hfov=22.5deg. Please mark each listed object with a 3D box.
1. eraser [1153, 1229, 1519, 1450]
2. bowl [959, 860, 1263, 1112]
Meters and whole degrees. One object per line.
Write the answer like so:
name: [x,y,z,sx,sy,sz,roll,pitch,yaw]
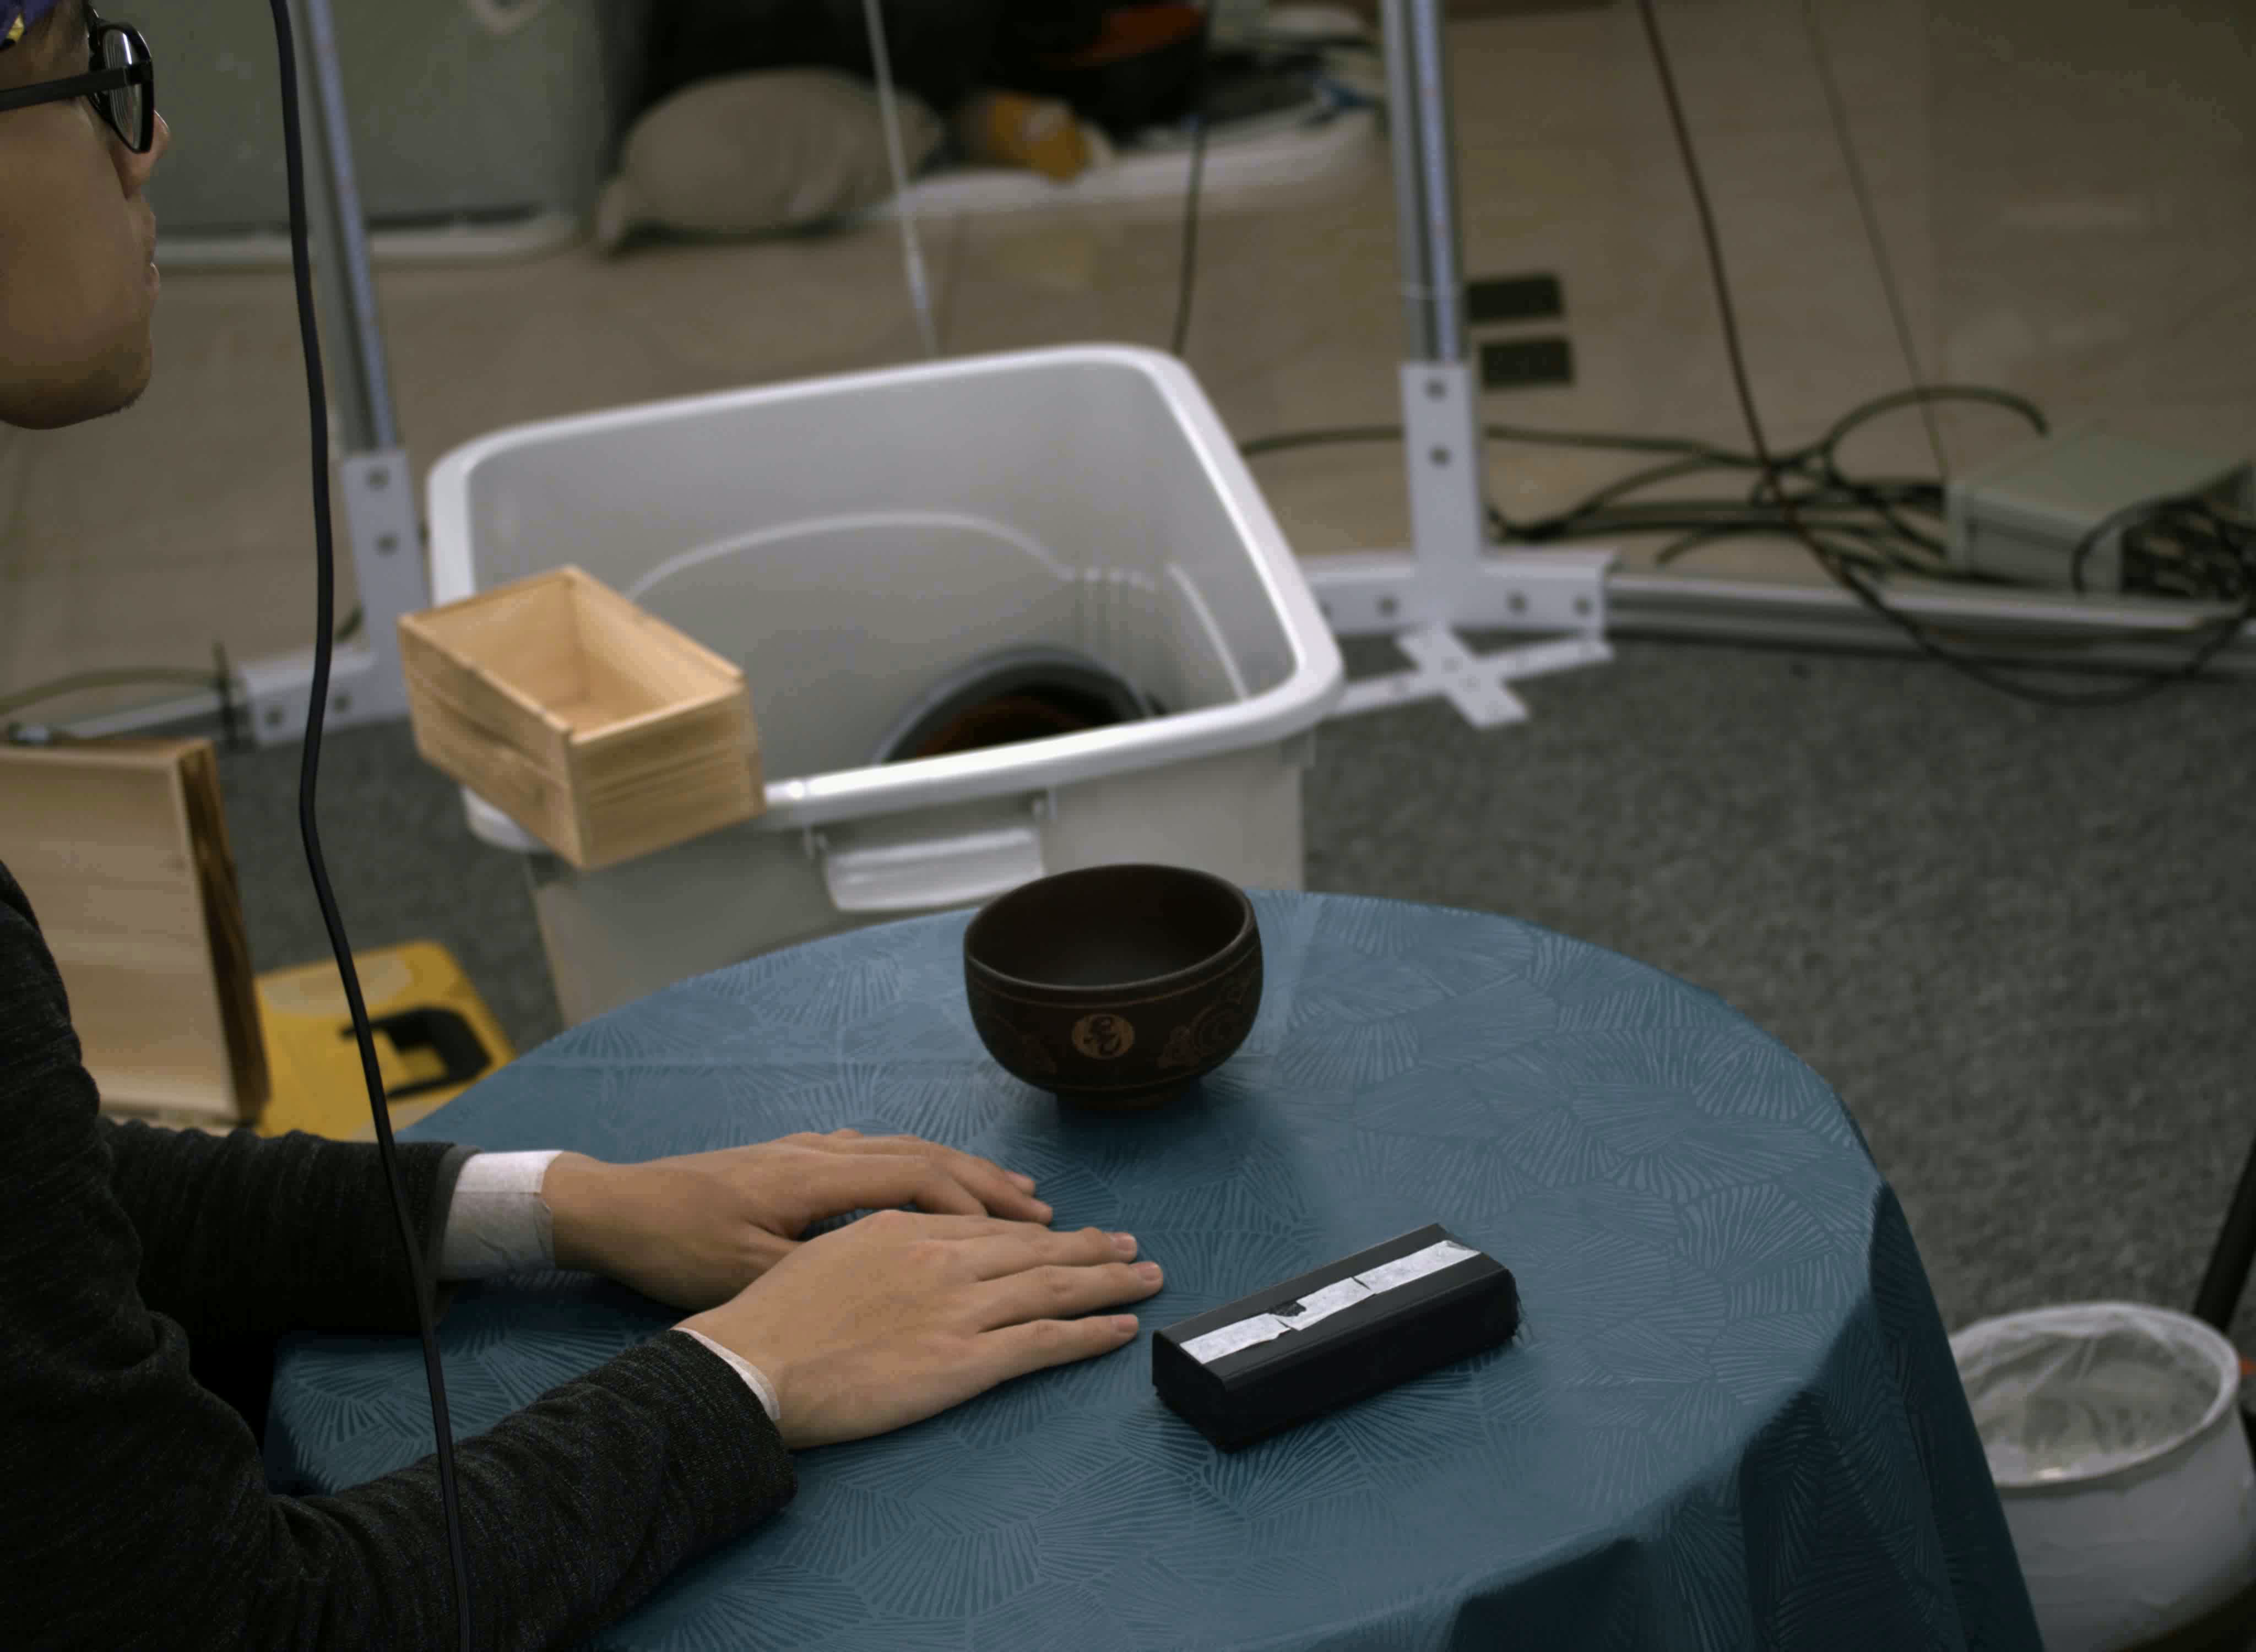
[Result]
eraser: [0.074,0.180,2.007,0.125,0.031,0.053,-20,25,-26]
bowl: [-0.005,0.069,2.215,0.118,0.071,0.116,-6,26,3]
